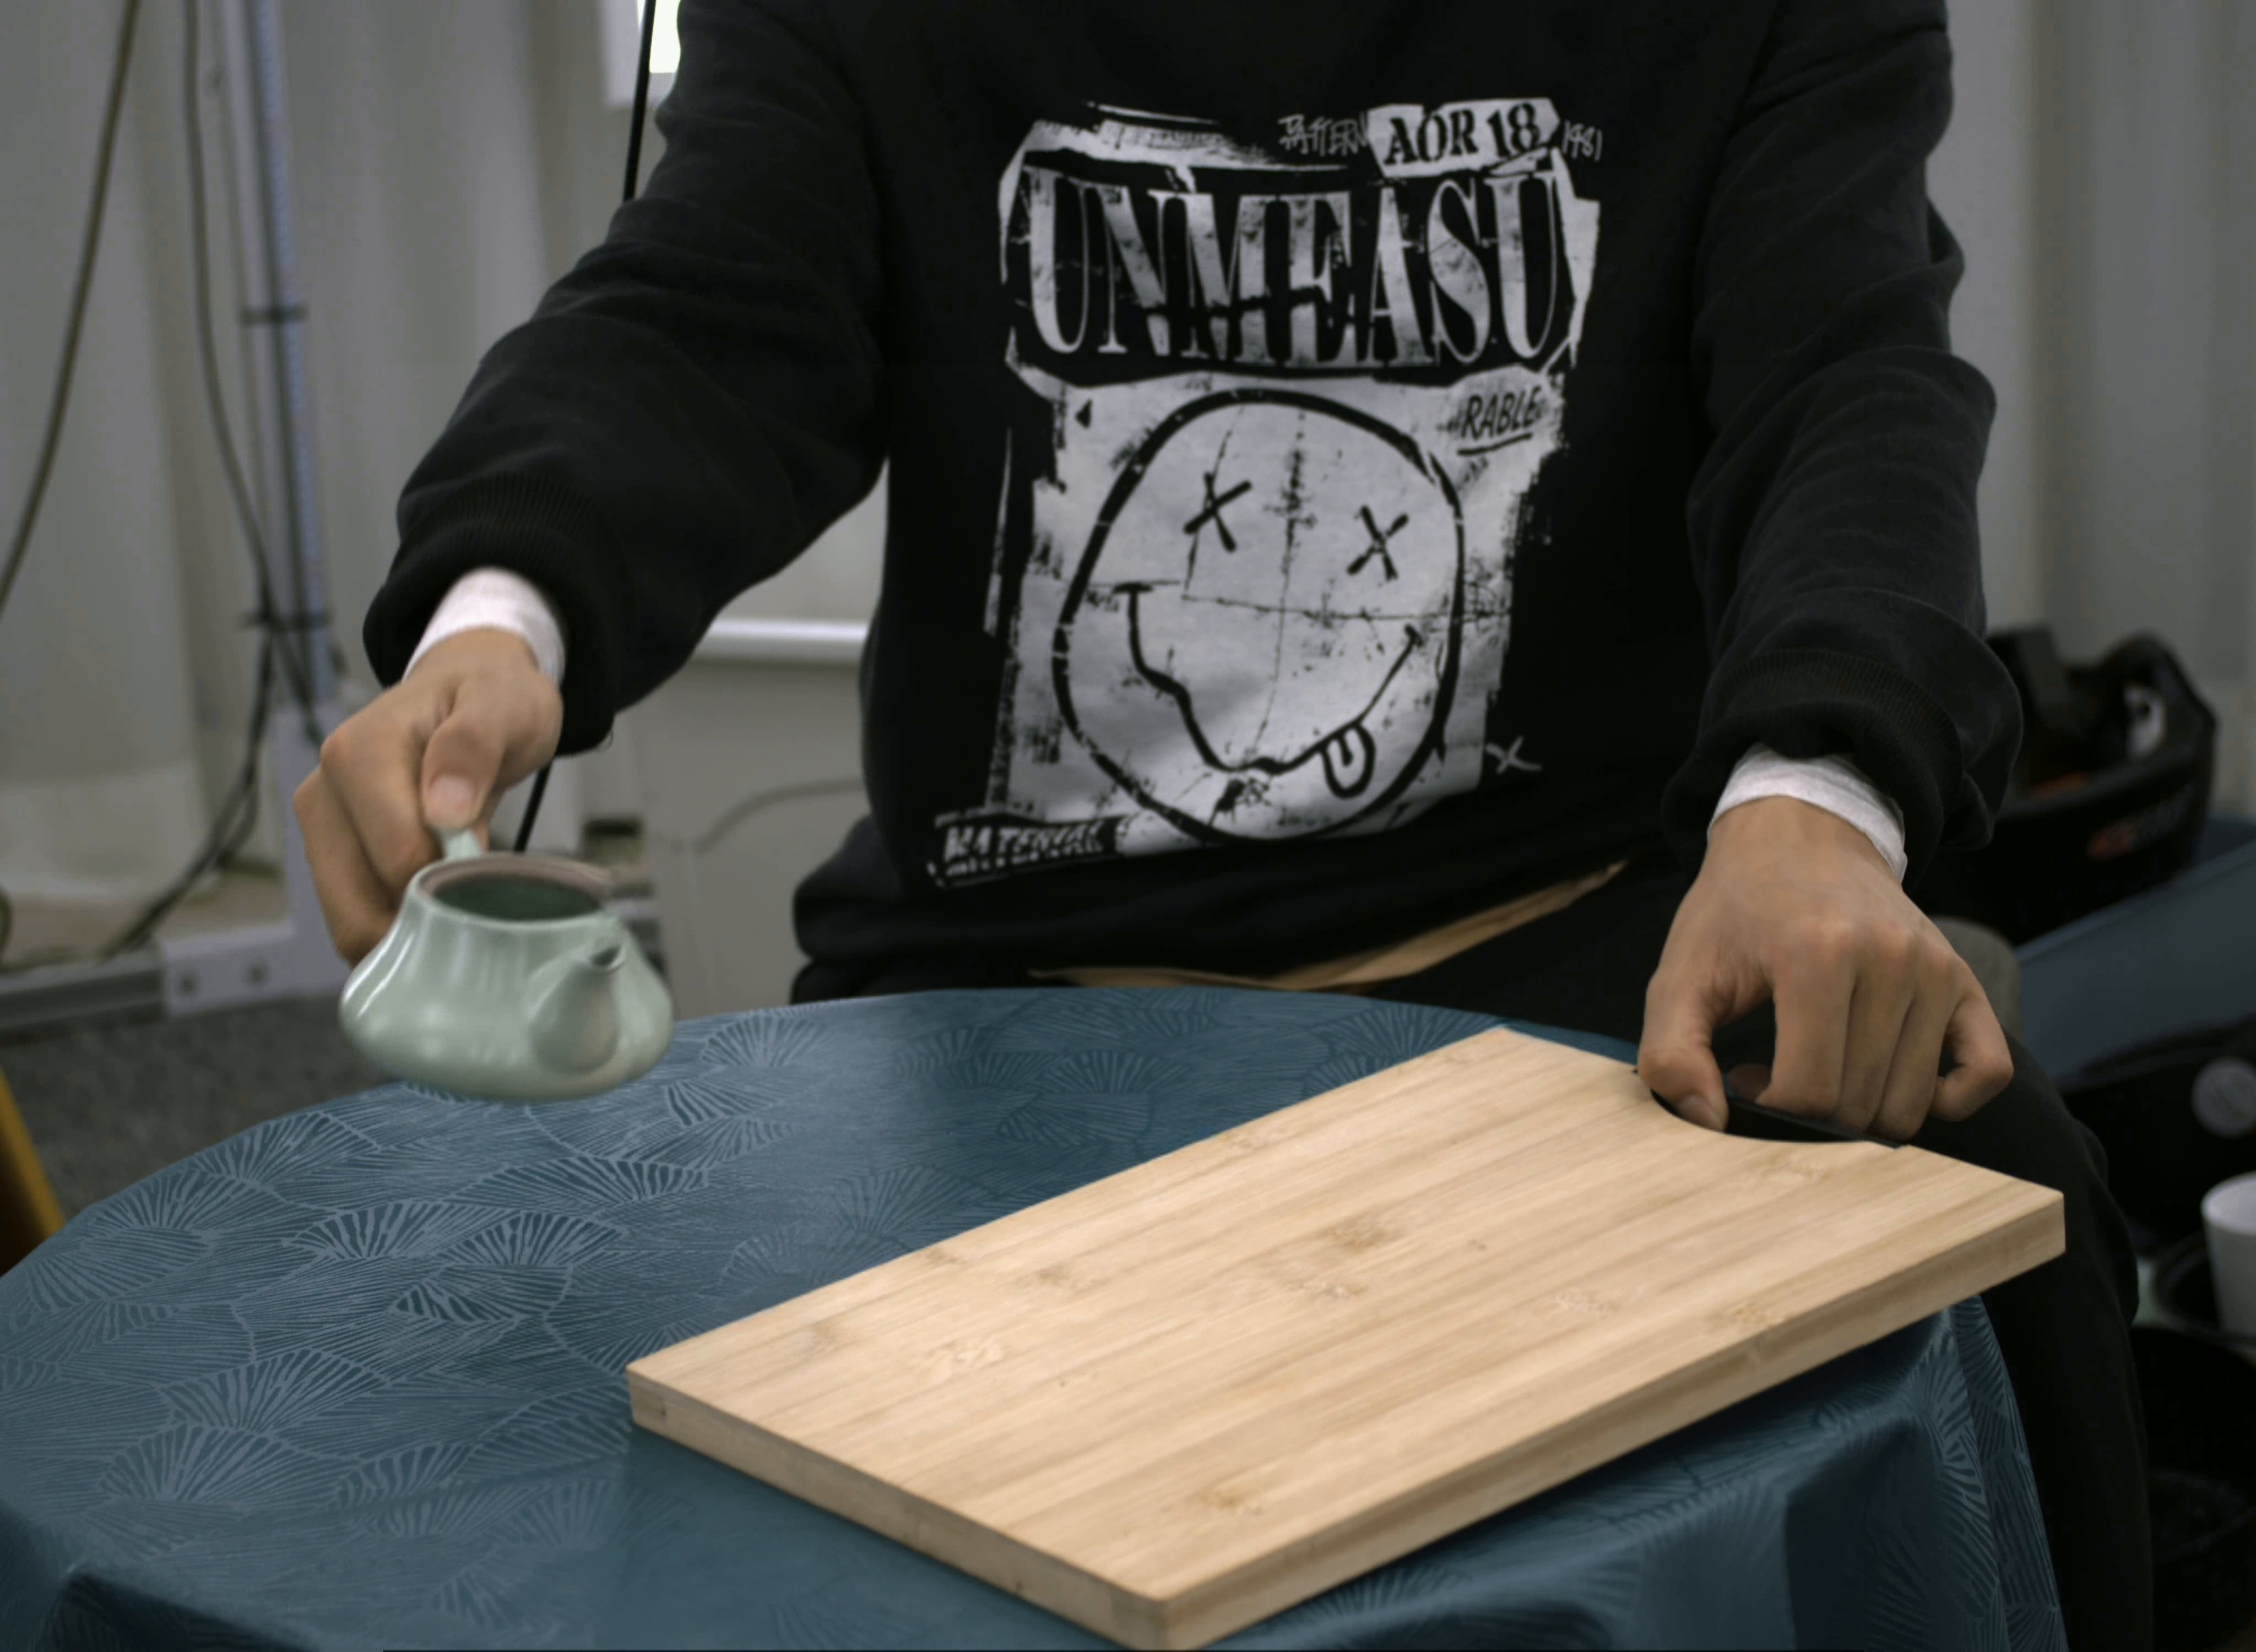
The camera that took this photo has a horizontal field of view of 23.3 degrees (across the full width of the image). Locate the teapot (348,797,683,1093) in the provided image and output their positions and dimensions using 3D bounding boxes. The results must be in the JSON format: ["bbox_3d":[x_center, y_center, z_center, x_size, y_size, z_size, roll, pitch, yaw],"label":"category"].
[{"bbox_3d":[-0.178,0.038,1.583,0.096,0.061,0.138,-7,23,-32],"label":"teapot"}]

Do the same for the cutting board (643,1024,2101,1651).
[{"bbox_3d":[0.068,0.136,1.548,0.348,0.023,0.252,-19,22,-37],"label":"cutting board"}]
